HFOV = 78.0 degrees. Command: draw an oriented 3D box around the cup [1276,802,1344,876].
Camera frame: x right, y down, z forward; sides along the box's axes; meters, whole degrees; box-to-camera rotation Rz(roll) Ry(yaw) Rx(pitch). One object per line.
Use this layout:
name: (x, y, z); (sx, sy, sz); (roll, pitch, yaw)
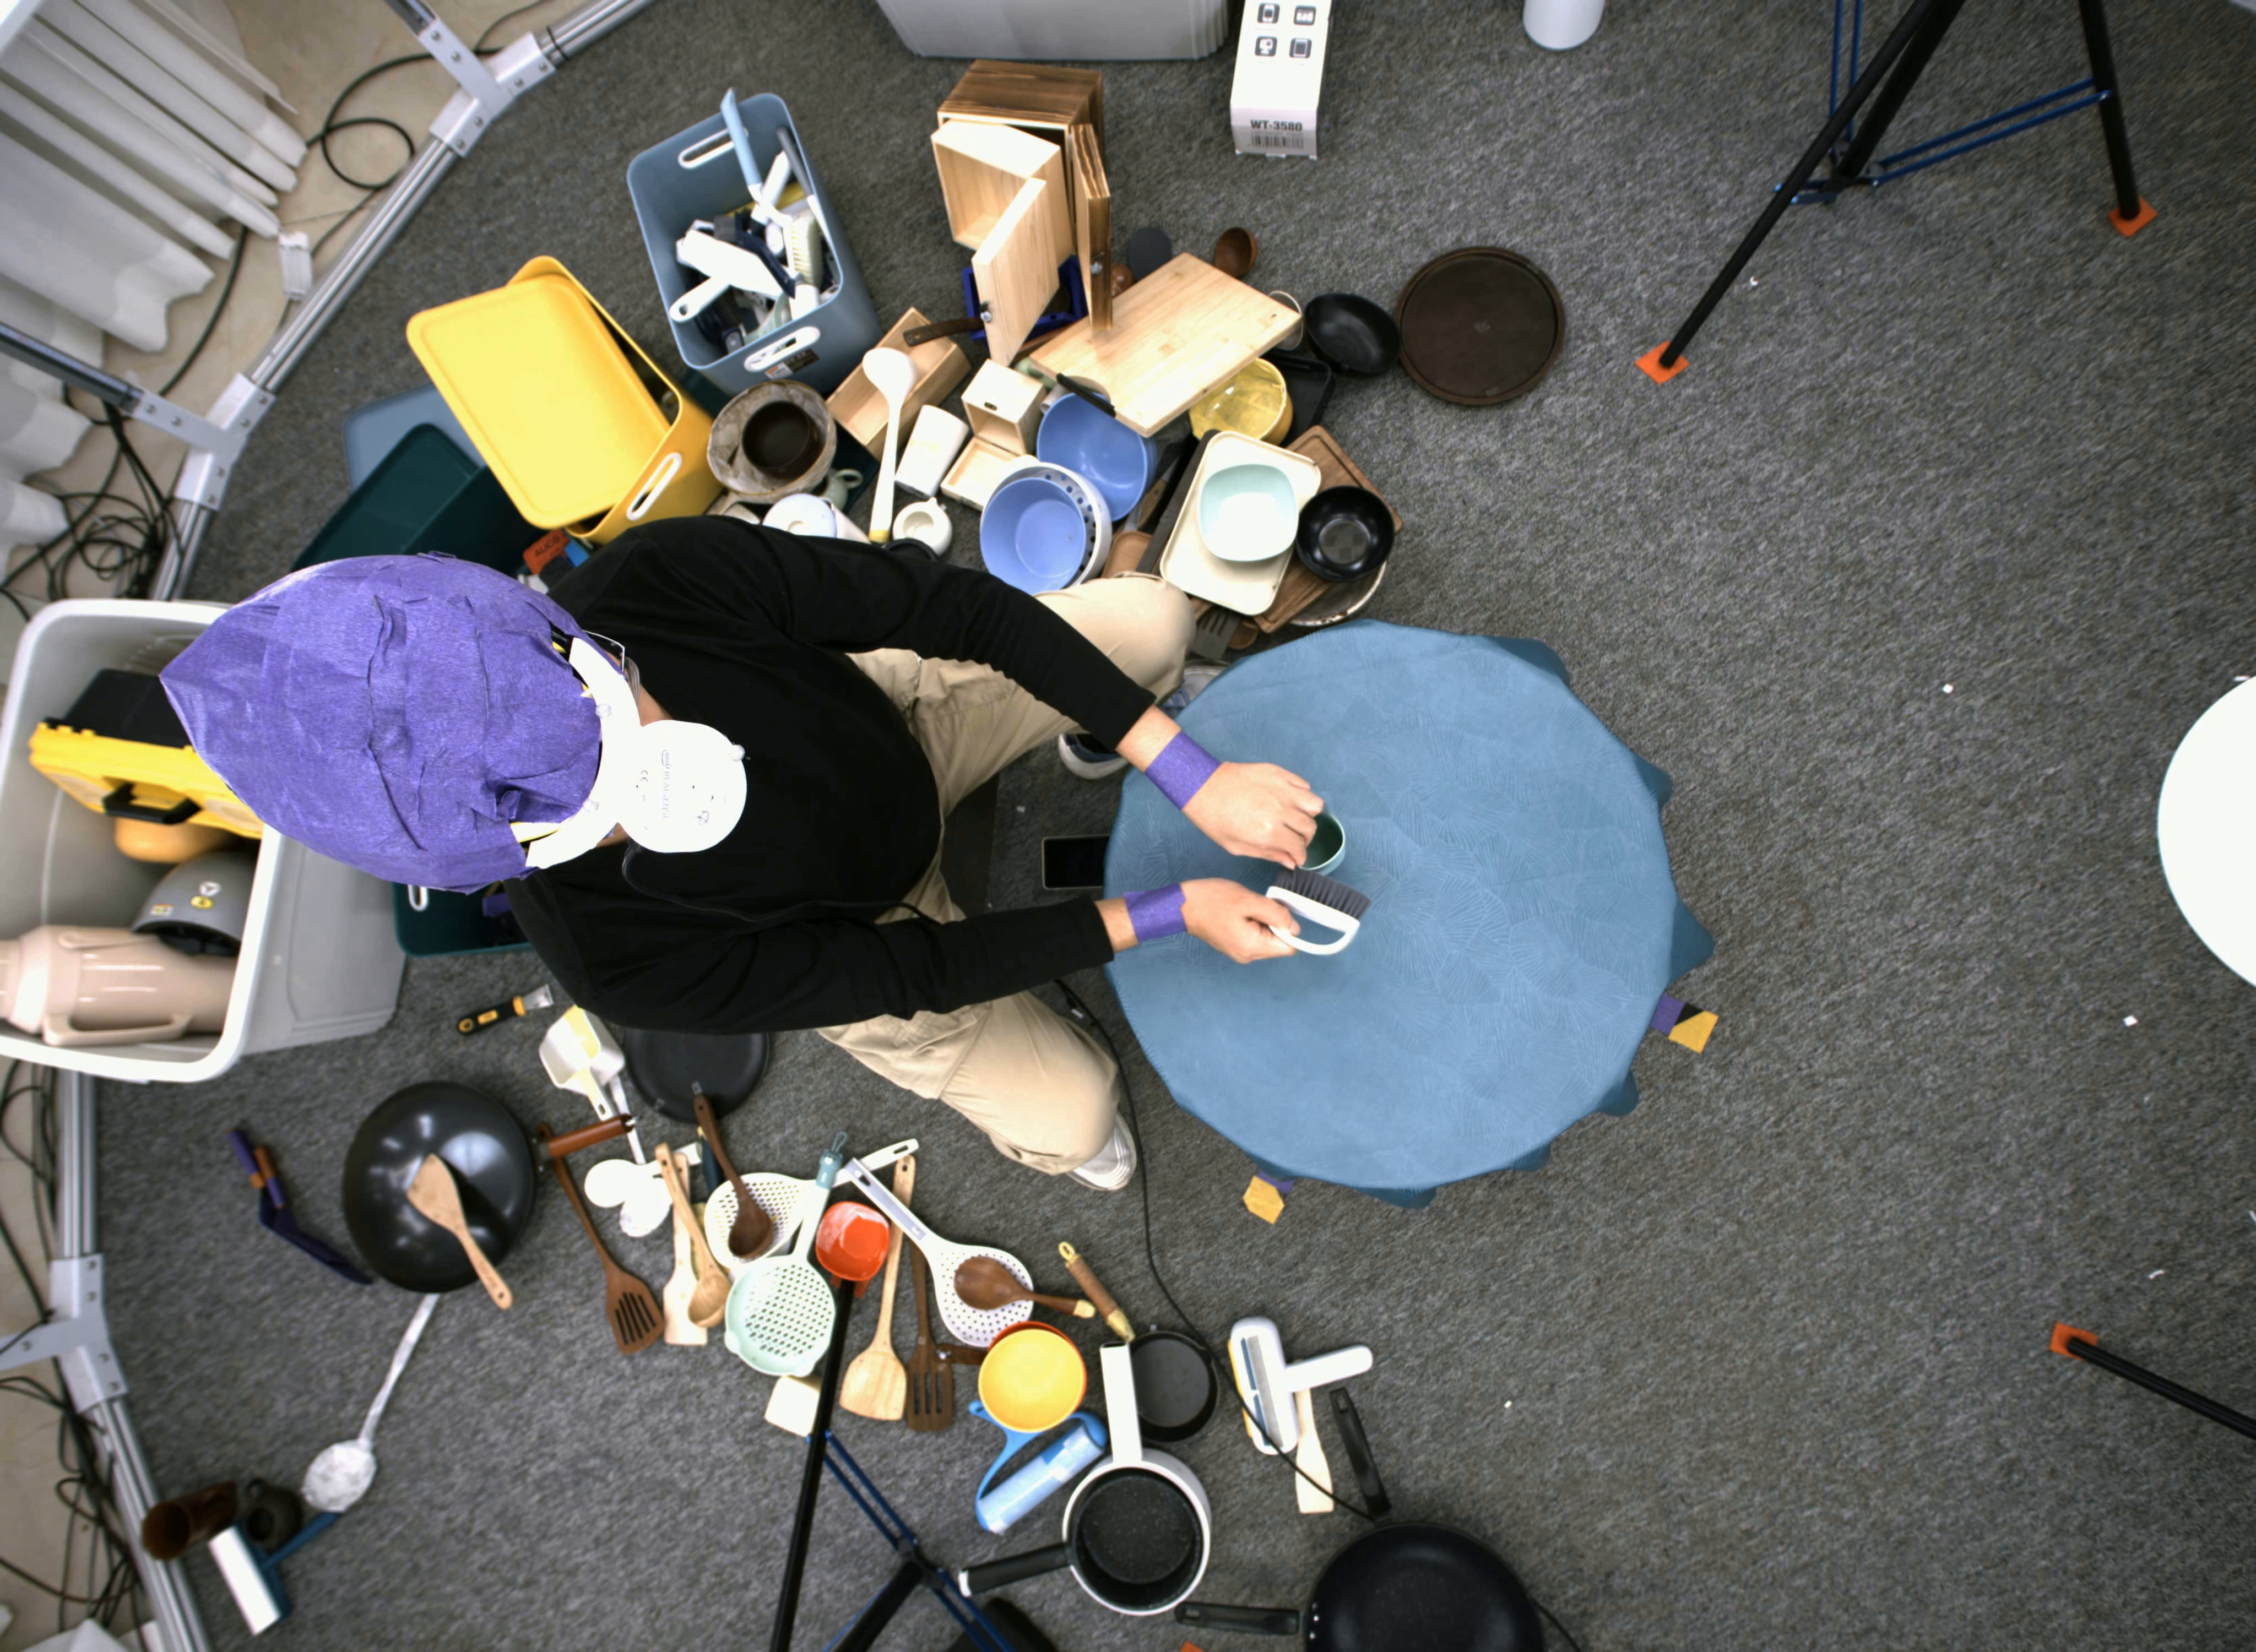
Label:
cup: (0.189, 0.016, 1.415); (0.067, 0.132, 0.066); (-1, 84, 9)

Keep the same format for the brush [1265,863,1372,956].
brush: (0.181, 0.087, 1.358); (0.099, 0.051, 0.072); (22, 80, 11)
